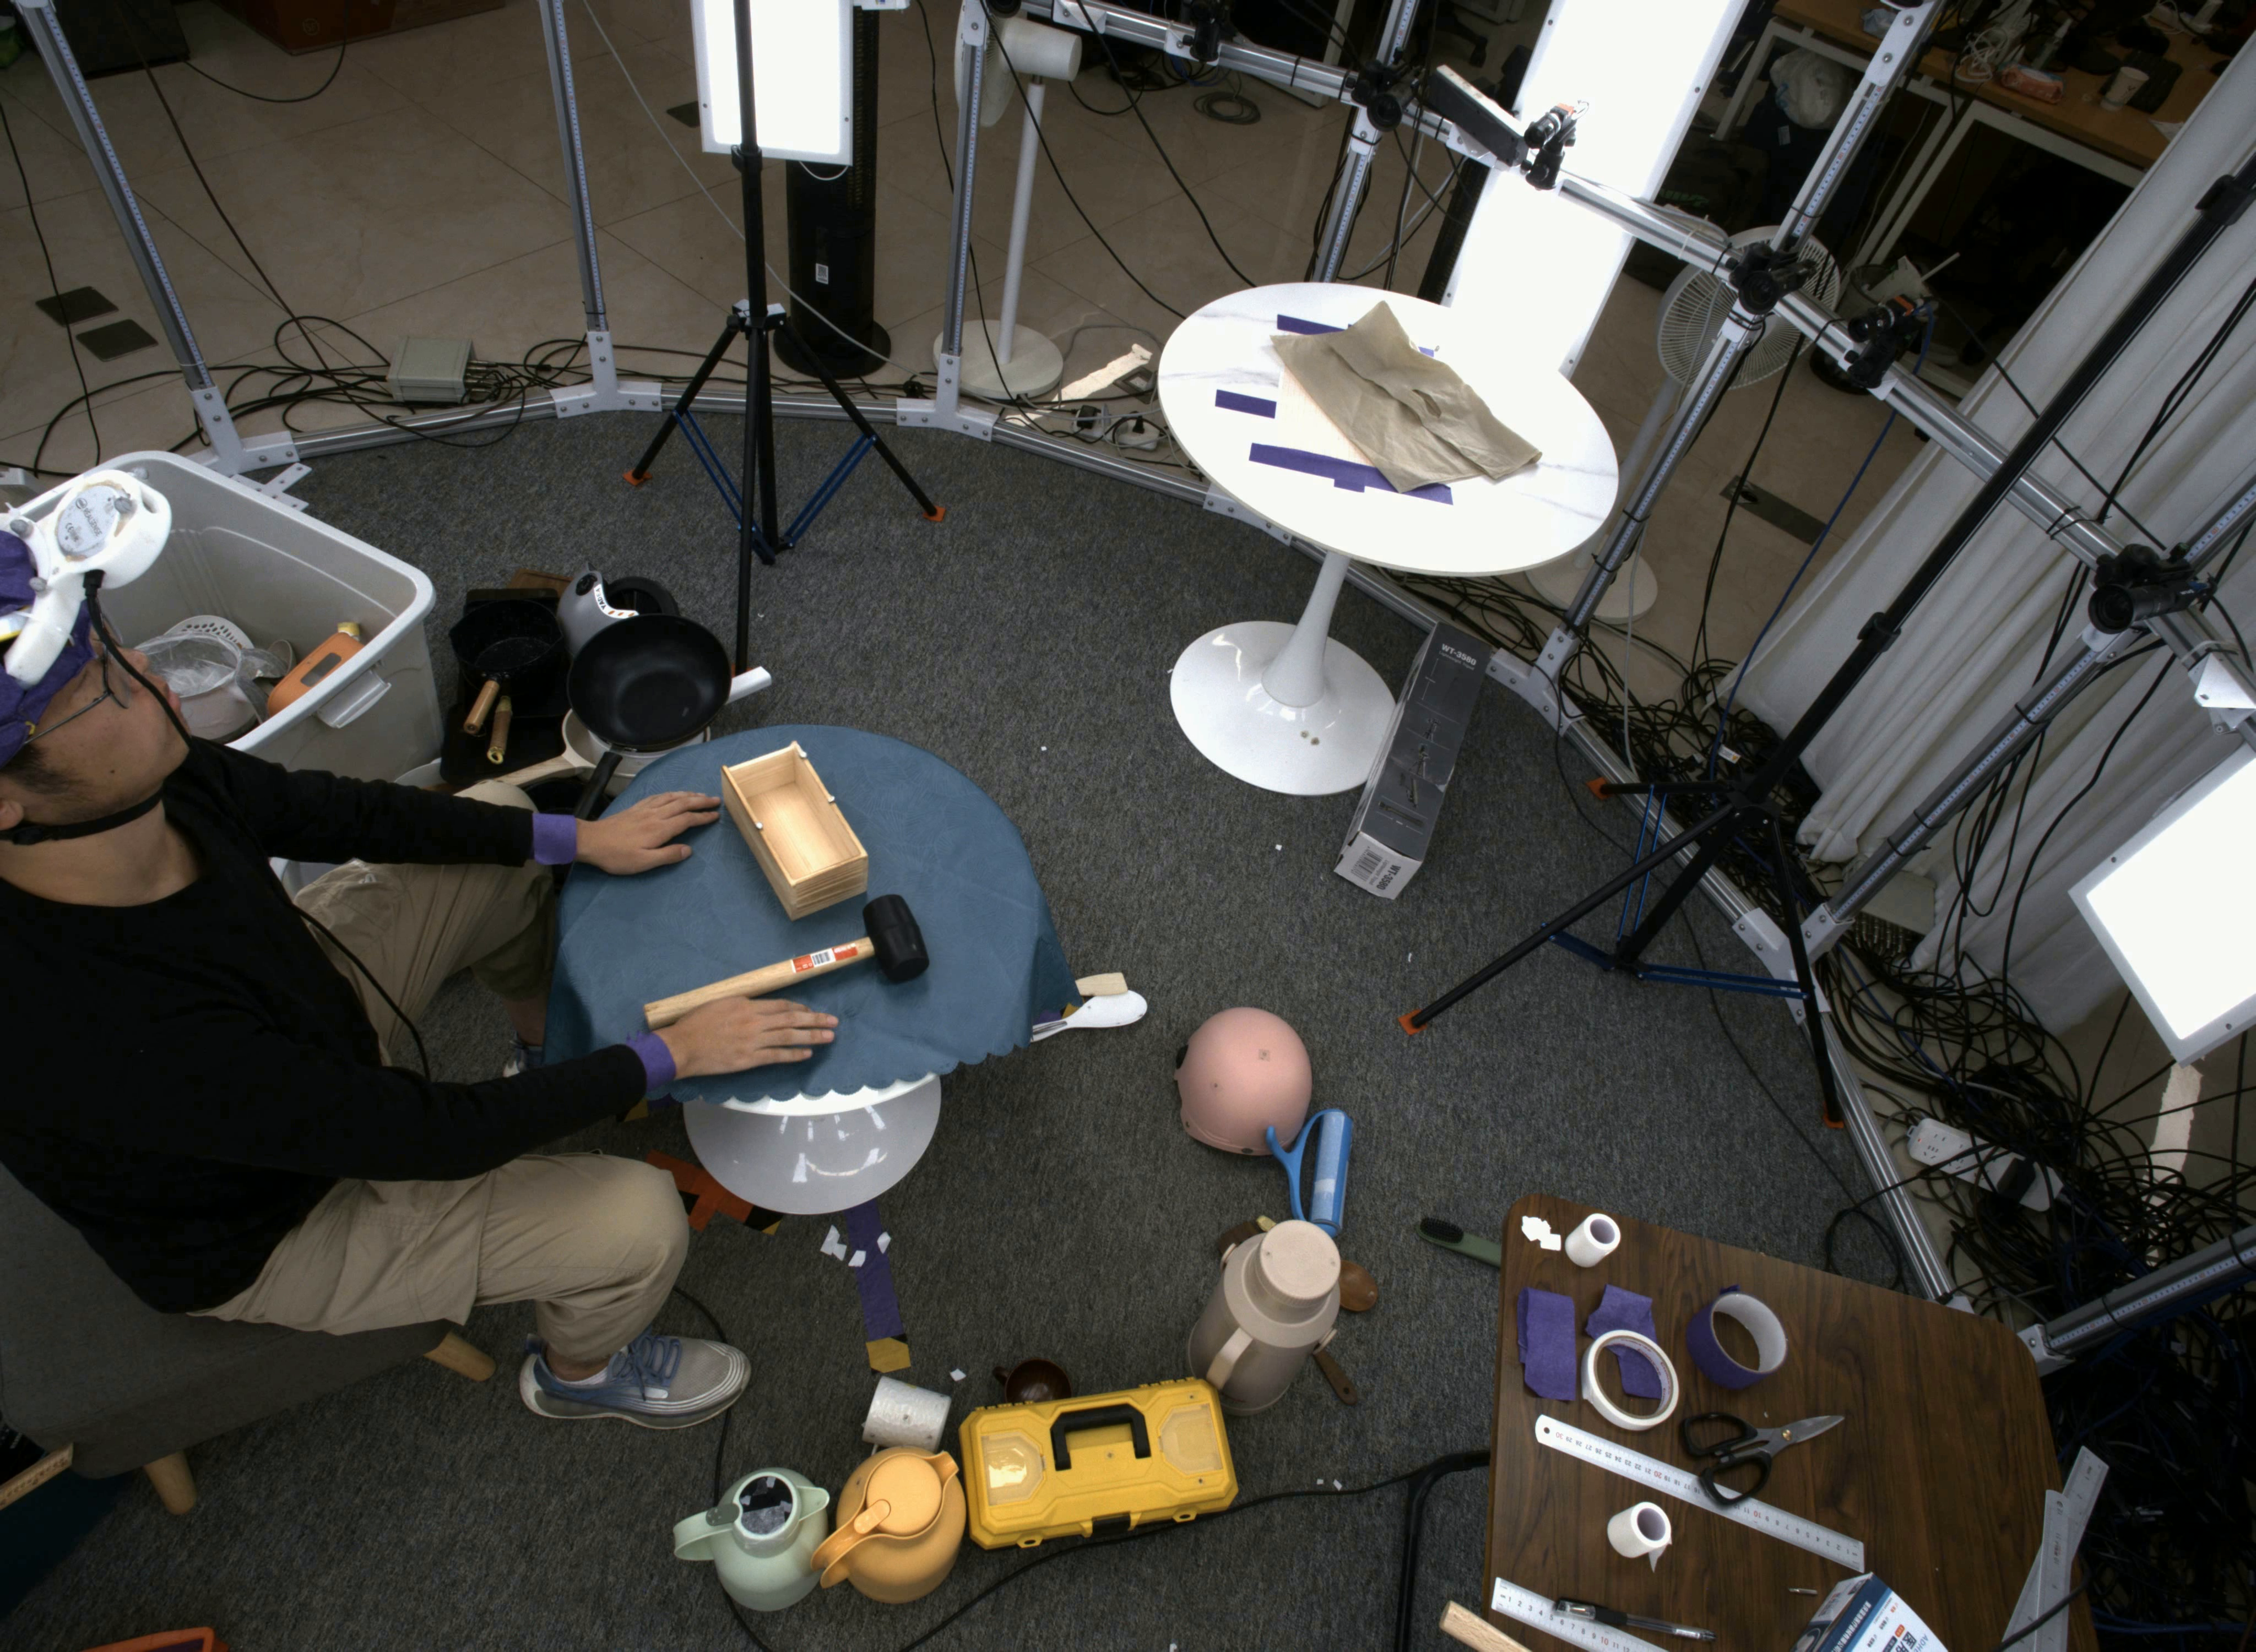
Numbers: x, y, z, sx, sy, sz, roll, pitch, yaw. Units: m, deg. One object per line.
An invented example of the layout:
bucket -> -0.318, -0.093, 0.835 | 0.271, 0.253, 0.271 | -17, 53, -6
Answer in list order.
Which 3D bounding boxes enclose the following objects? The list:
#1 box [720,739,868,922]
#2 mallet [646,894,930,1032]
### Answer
box -> -0.430, 0.003, 1.666 | 0.108, 0.082, 0.206 | -24, 63, -28
mallet -> -0.409, 0.172, 1.558 | 0.340, 0.065, 0.099 | -15, 57, -23
